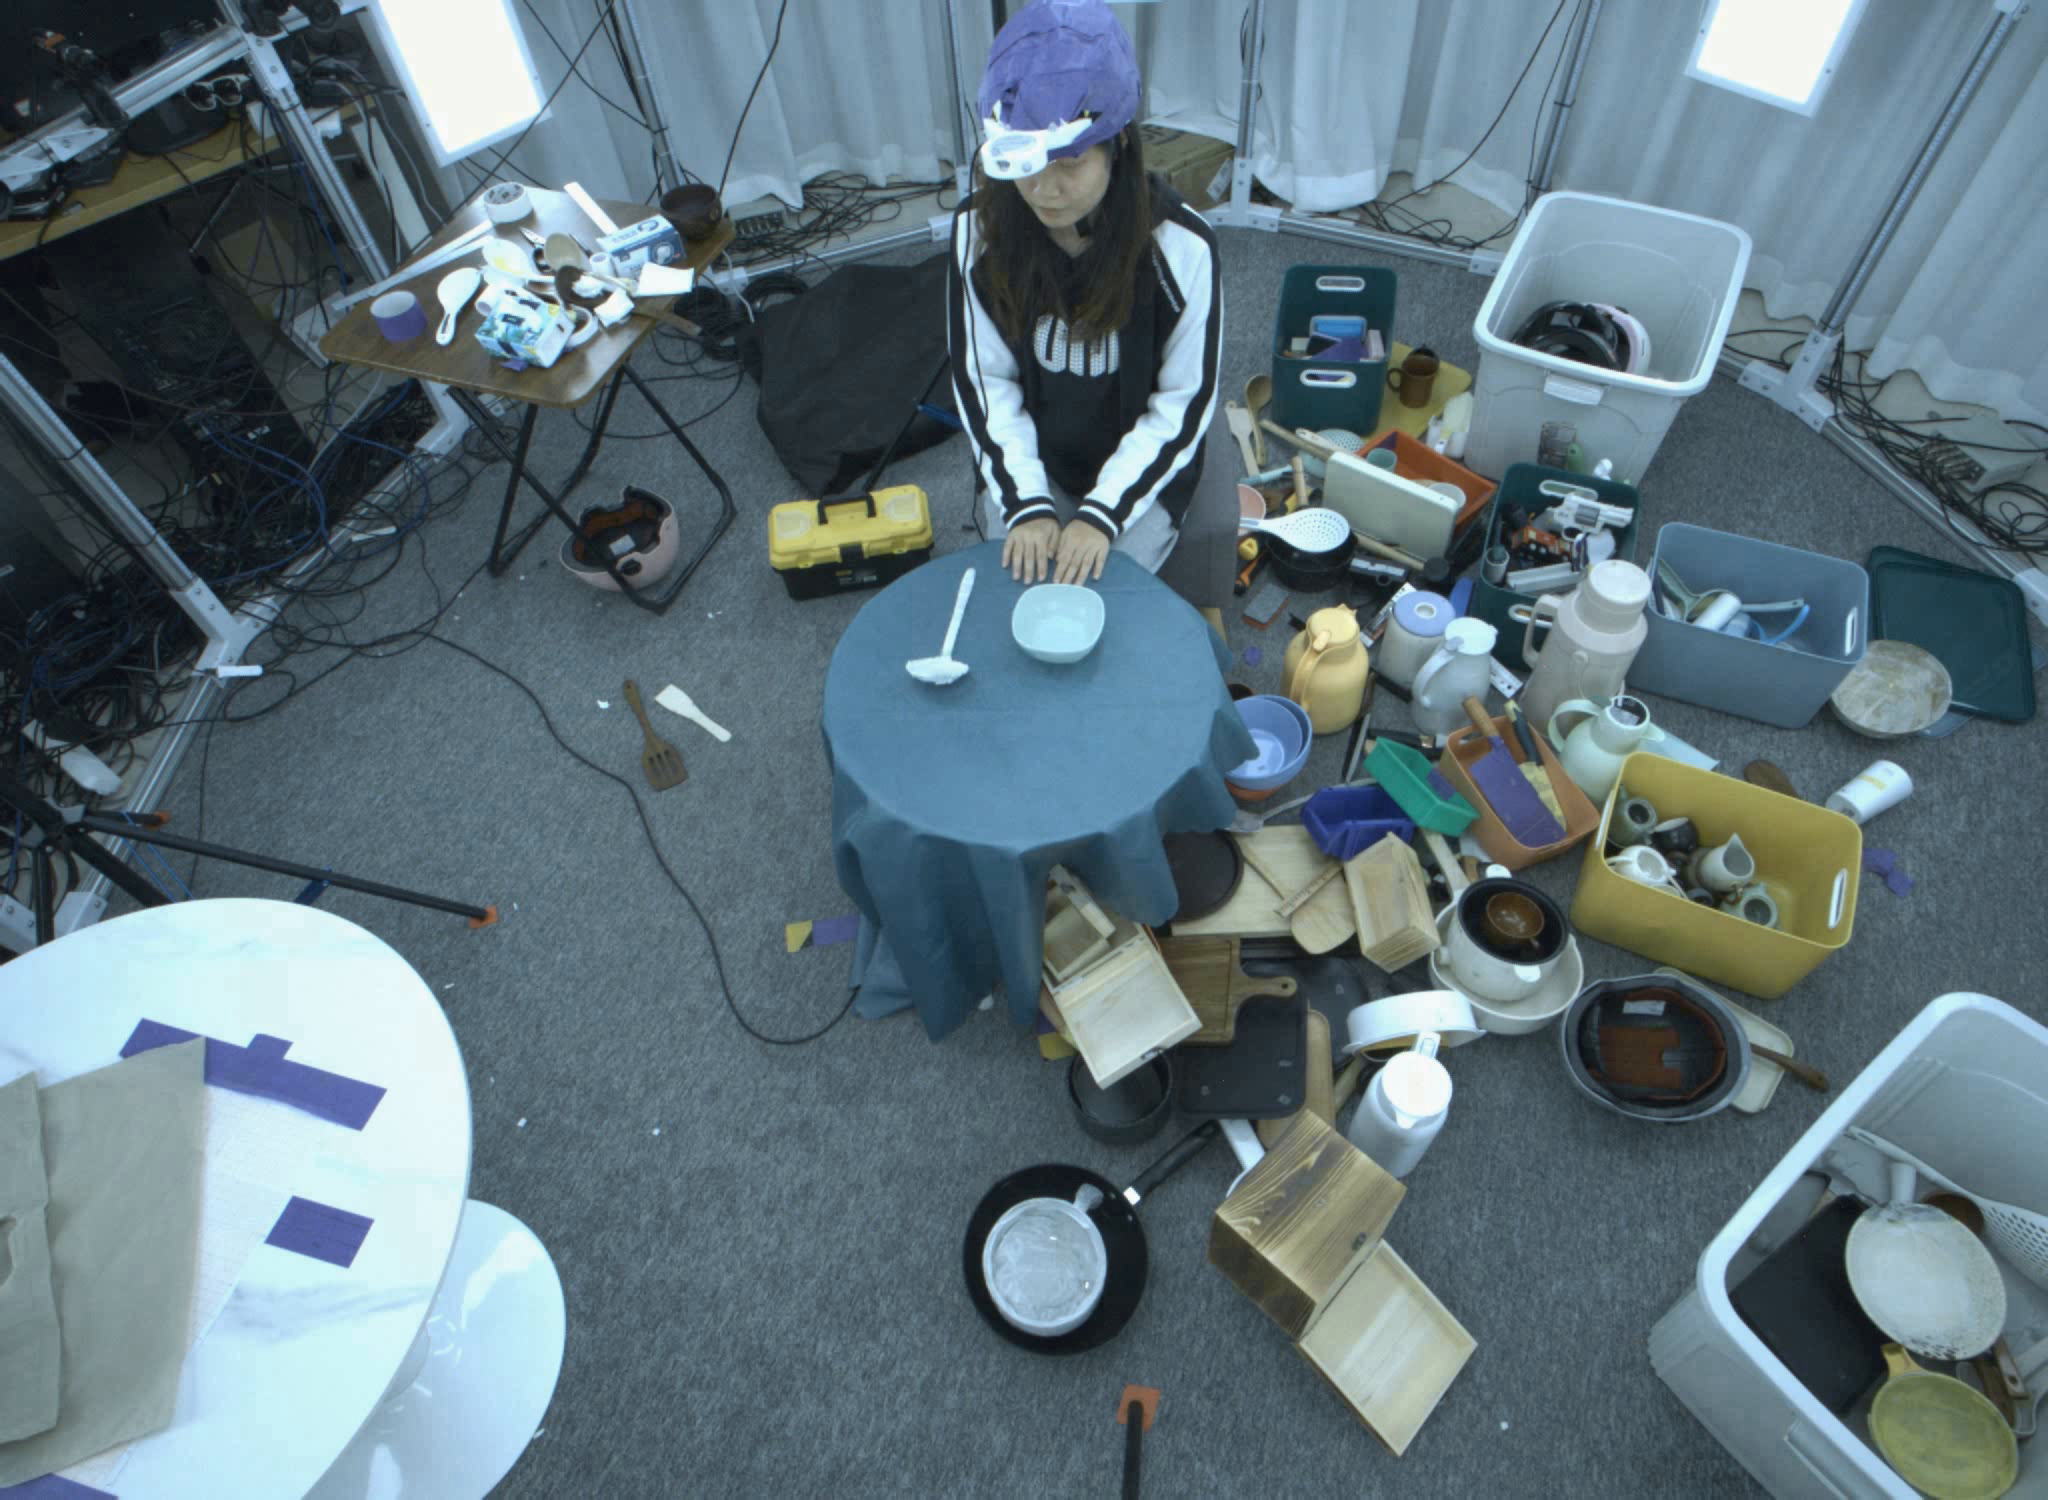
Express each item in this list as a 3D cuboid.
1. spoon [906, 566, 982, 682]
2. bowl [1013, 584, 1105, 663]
[{"bbox_3d":[-0.103,-0.202,1.899,0.100,0.060,0.276,13,56,5],"label":"spoon"},{"bbox_3d":[0.053,-0.185,1.885,0.151,0.059,0.150,0,55,2],"label":"bowl"}]
